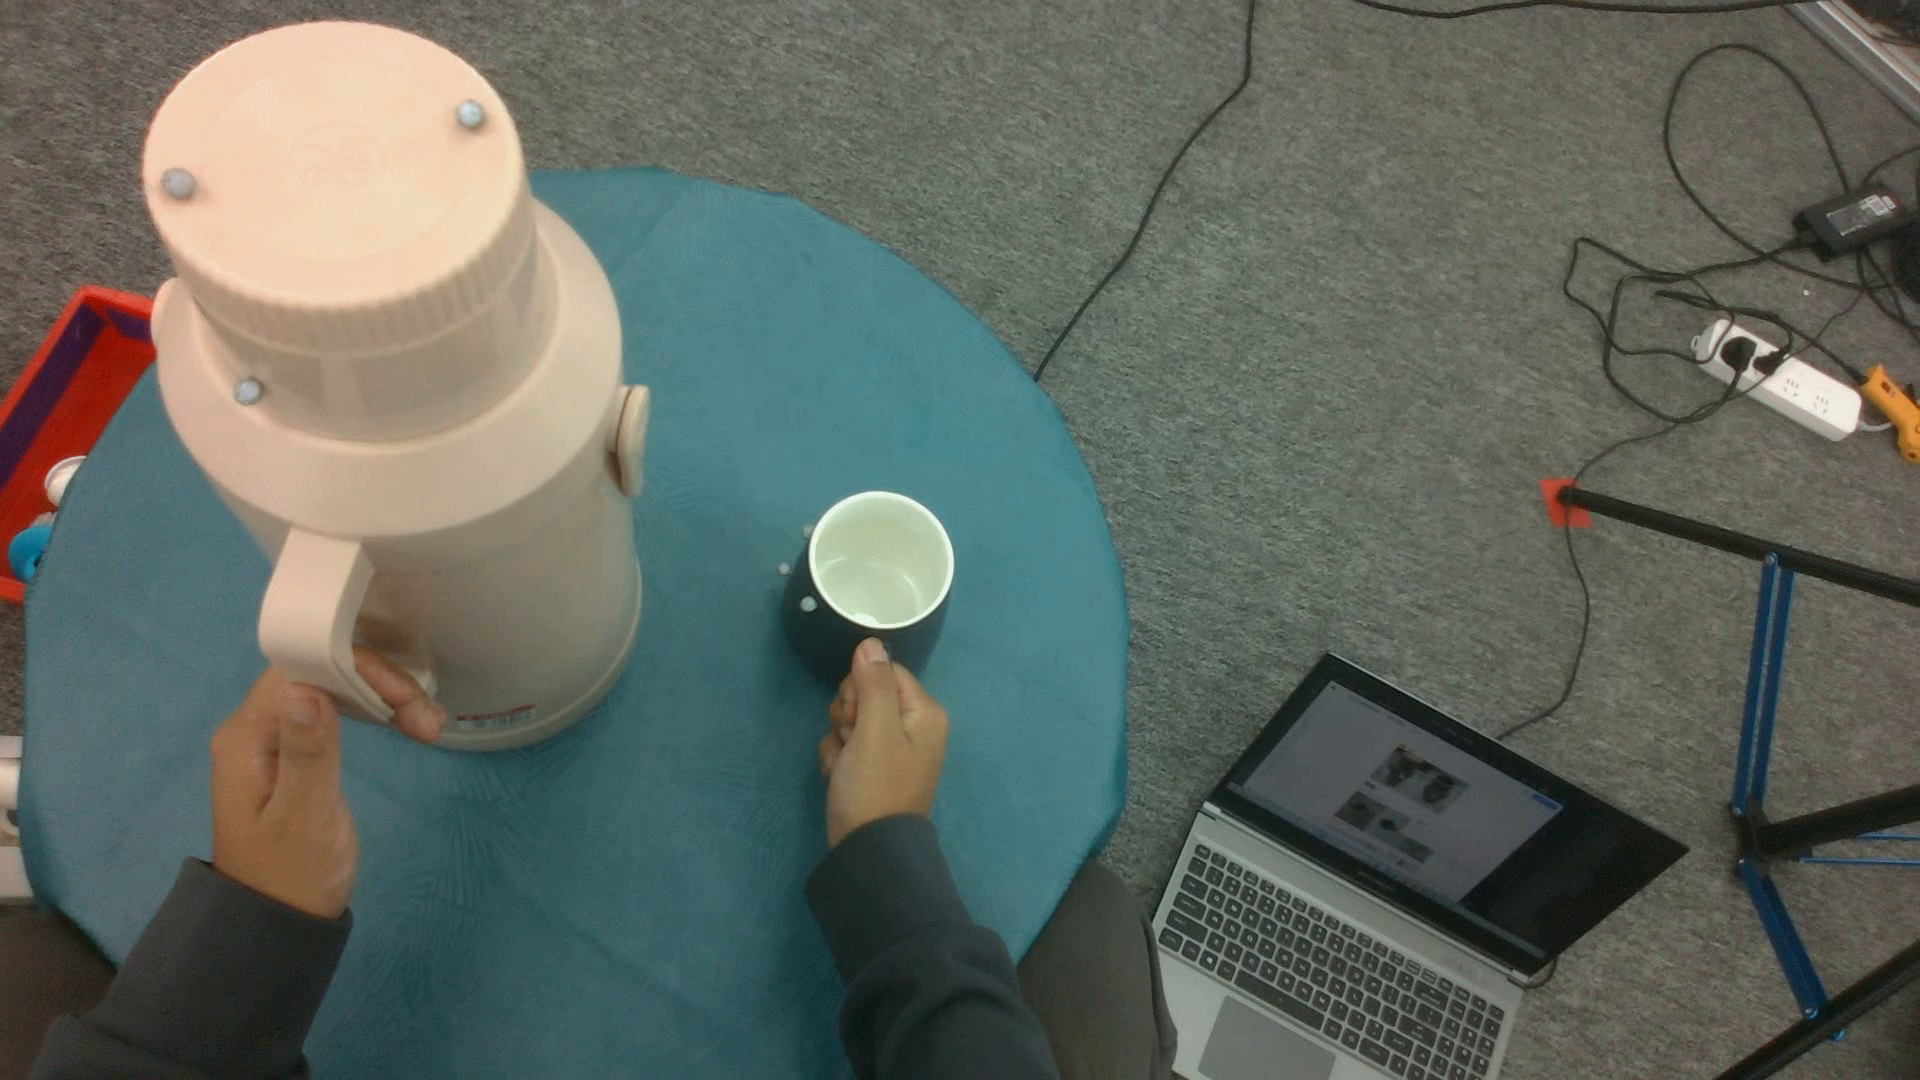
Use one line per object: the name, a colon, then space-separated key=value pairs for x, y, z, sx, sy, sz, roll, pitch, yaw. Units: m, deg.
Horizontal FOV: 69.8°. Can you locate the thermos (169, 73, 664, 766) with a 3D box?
thermos: x=-0.221 y=-0.013 z=0.598 sx=0.175 sy=0.404 sz=0.208 roll=10 pitch=65 yaw=-7

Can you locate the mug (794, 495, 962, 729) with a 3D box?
mug: x=-0.045 y=0.044 z=0.772 sx=0.093 sy=0.089 sz=0.123 roll=3 pitch=63 yaw=-10
